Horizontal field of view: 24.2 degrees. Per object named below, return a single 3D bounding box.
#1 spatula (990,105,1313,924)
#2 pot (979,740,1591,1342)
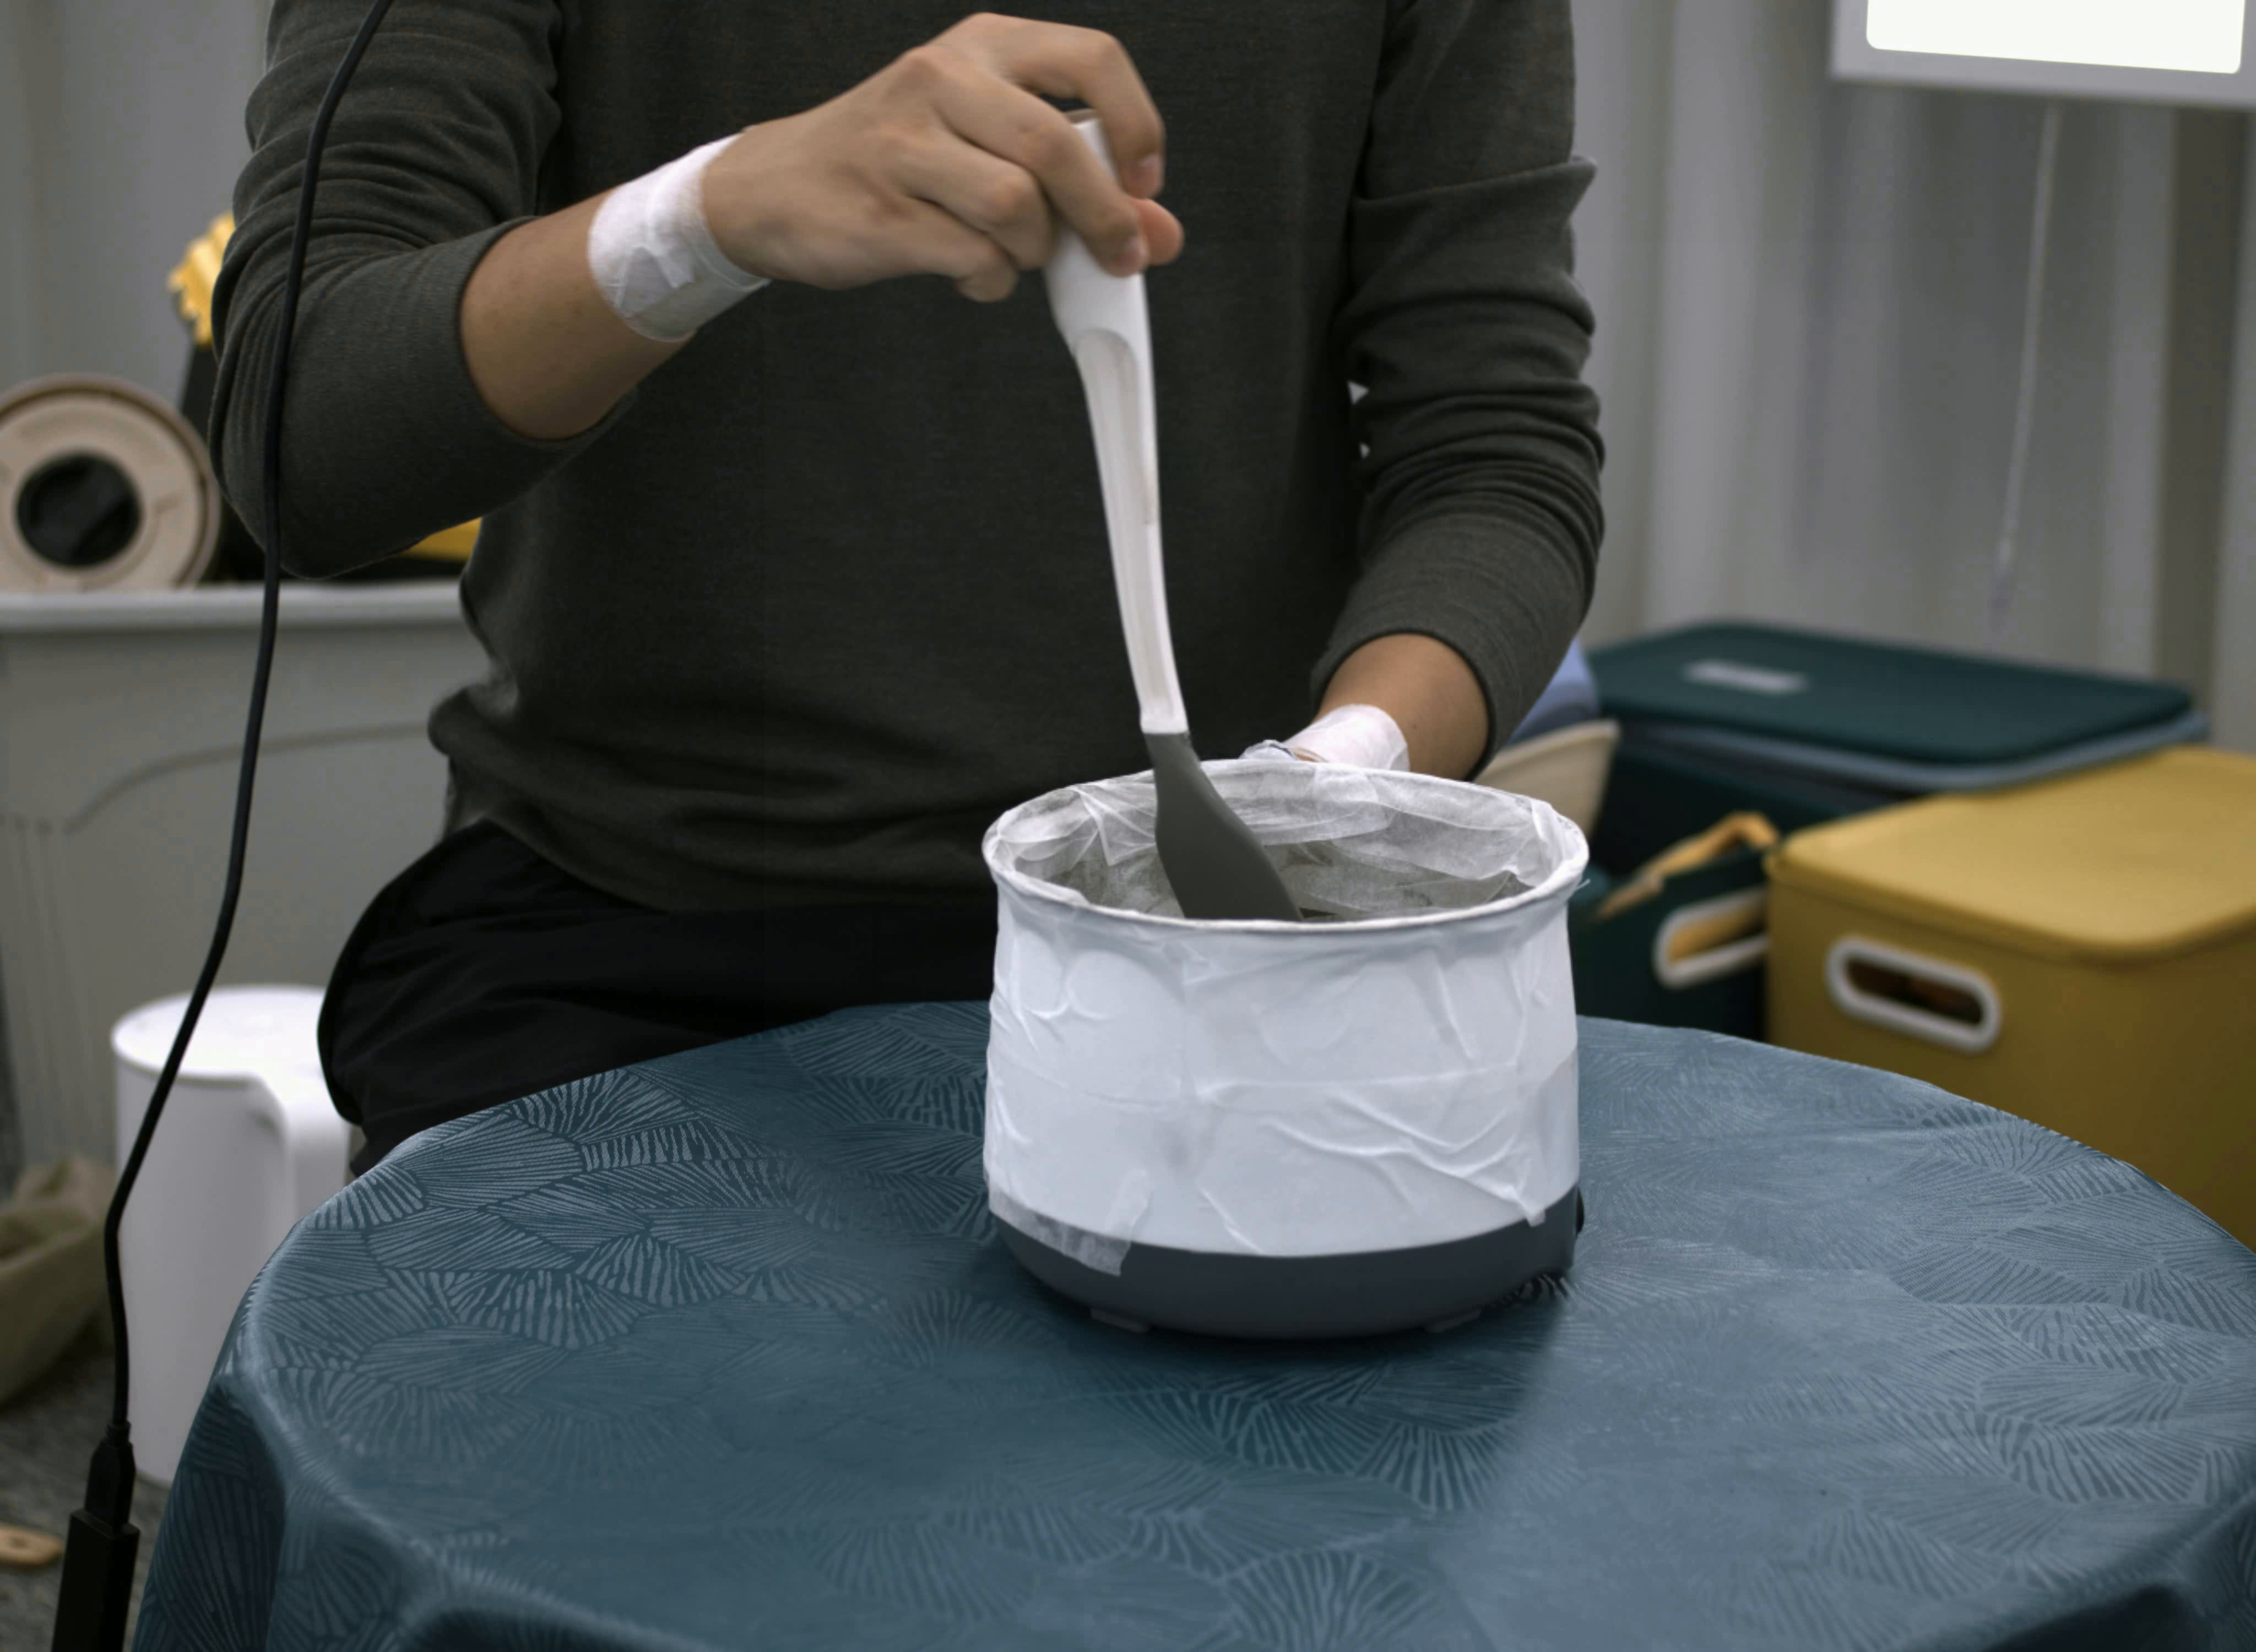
[{"bbox_3d":[0.011,-0.068,1.542,0.058,0.290,0.032,2,23,46],"label":"spatula"},{"bbox_3d":[0.044,0.058,1.566,0.178,0.138,0.232,0,15,-3],"label":"pot"}]
